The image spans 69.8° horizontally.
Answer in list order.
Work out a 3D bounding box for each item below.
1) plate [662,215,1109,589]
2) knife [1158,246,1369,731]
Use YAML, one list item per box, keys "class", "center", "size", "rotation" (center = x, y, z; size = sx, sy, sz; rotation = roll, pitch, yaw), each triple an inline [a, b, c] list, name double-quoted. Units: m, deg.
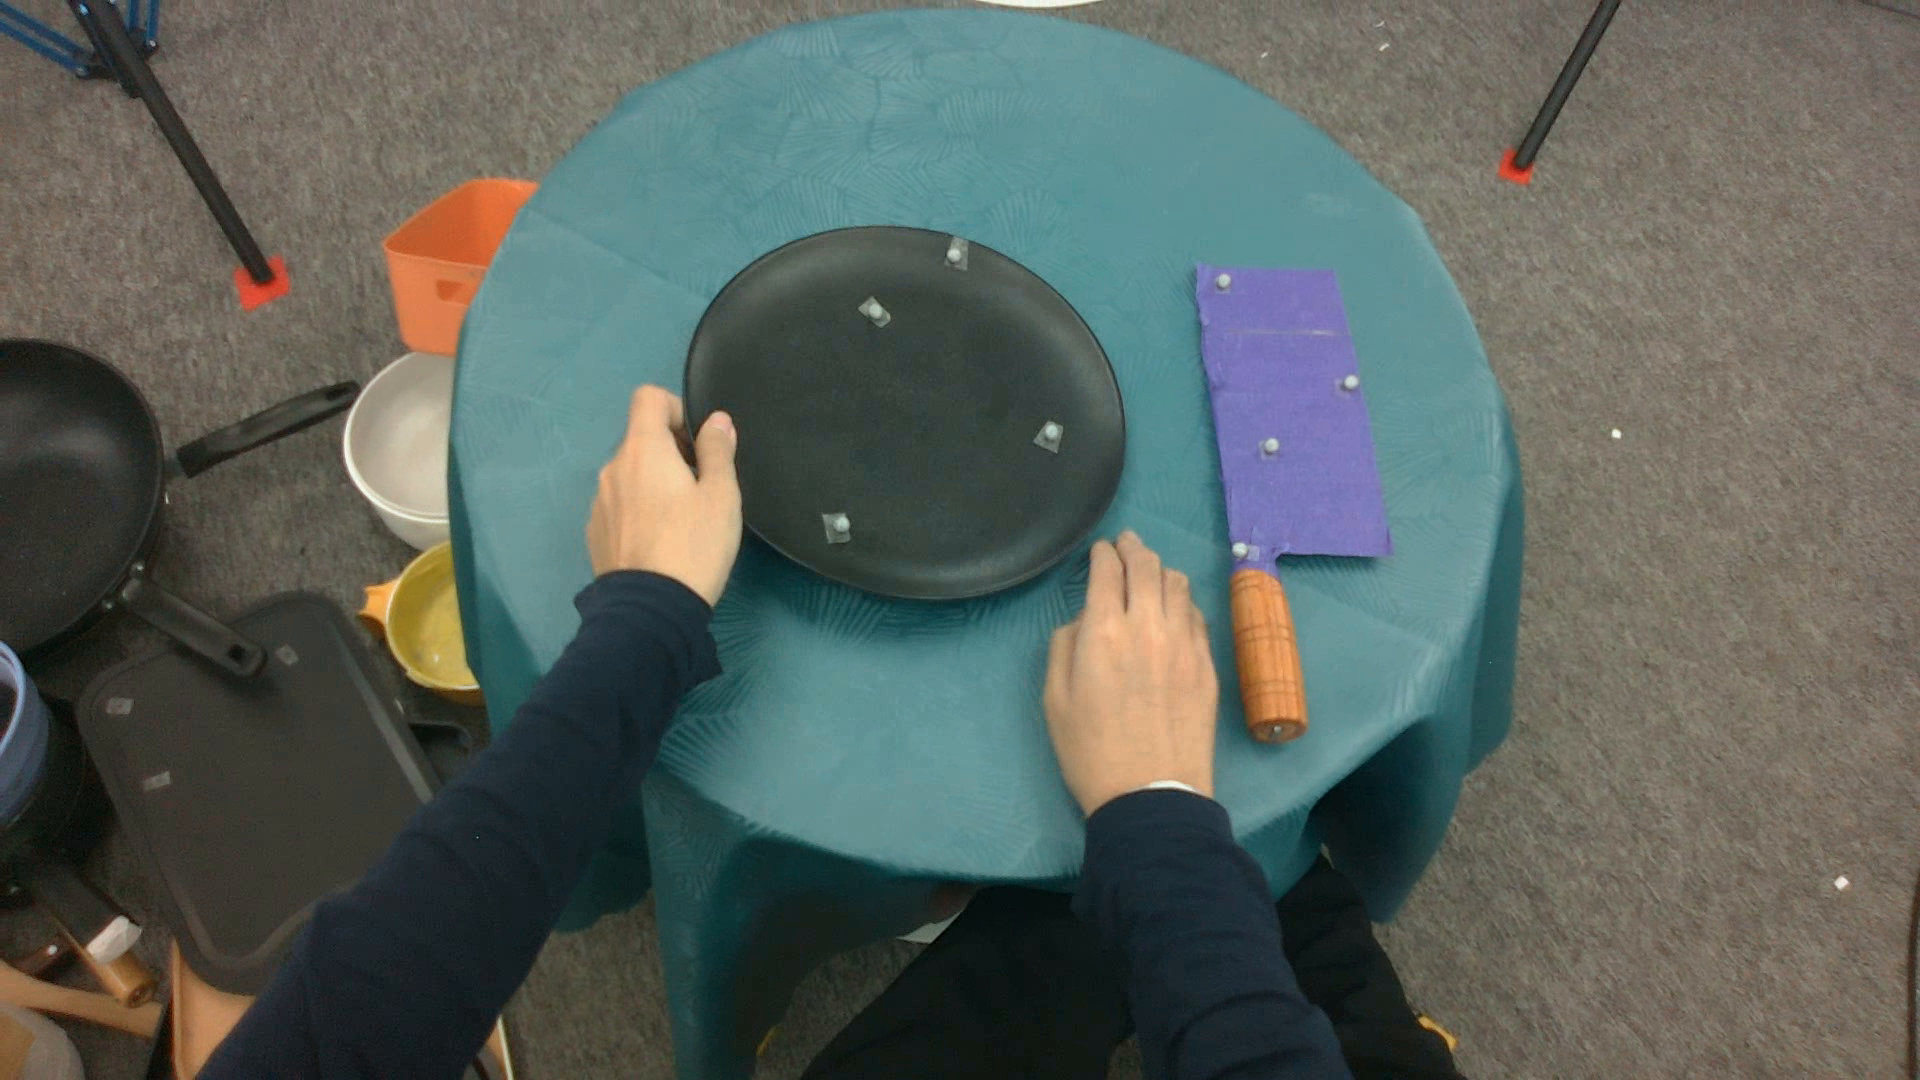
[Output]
- class: "plate"
  center: [-0.038, -0.077, 0.750]
  size: [0.244, 0.023, 0.245]
  rotation: [7, 59, -11]
- class: "knife"
  center: [0.177, -0.045, 0.766]
  size: [0.104, 0.032, 0.316]
  rotation: [1, 60, -5]
